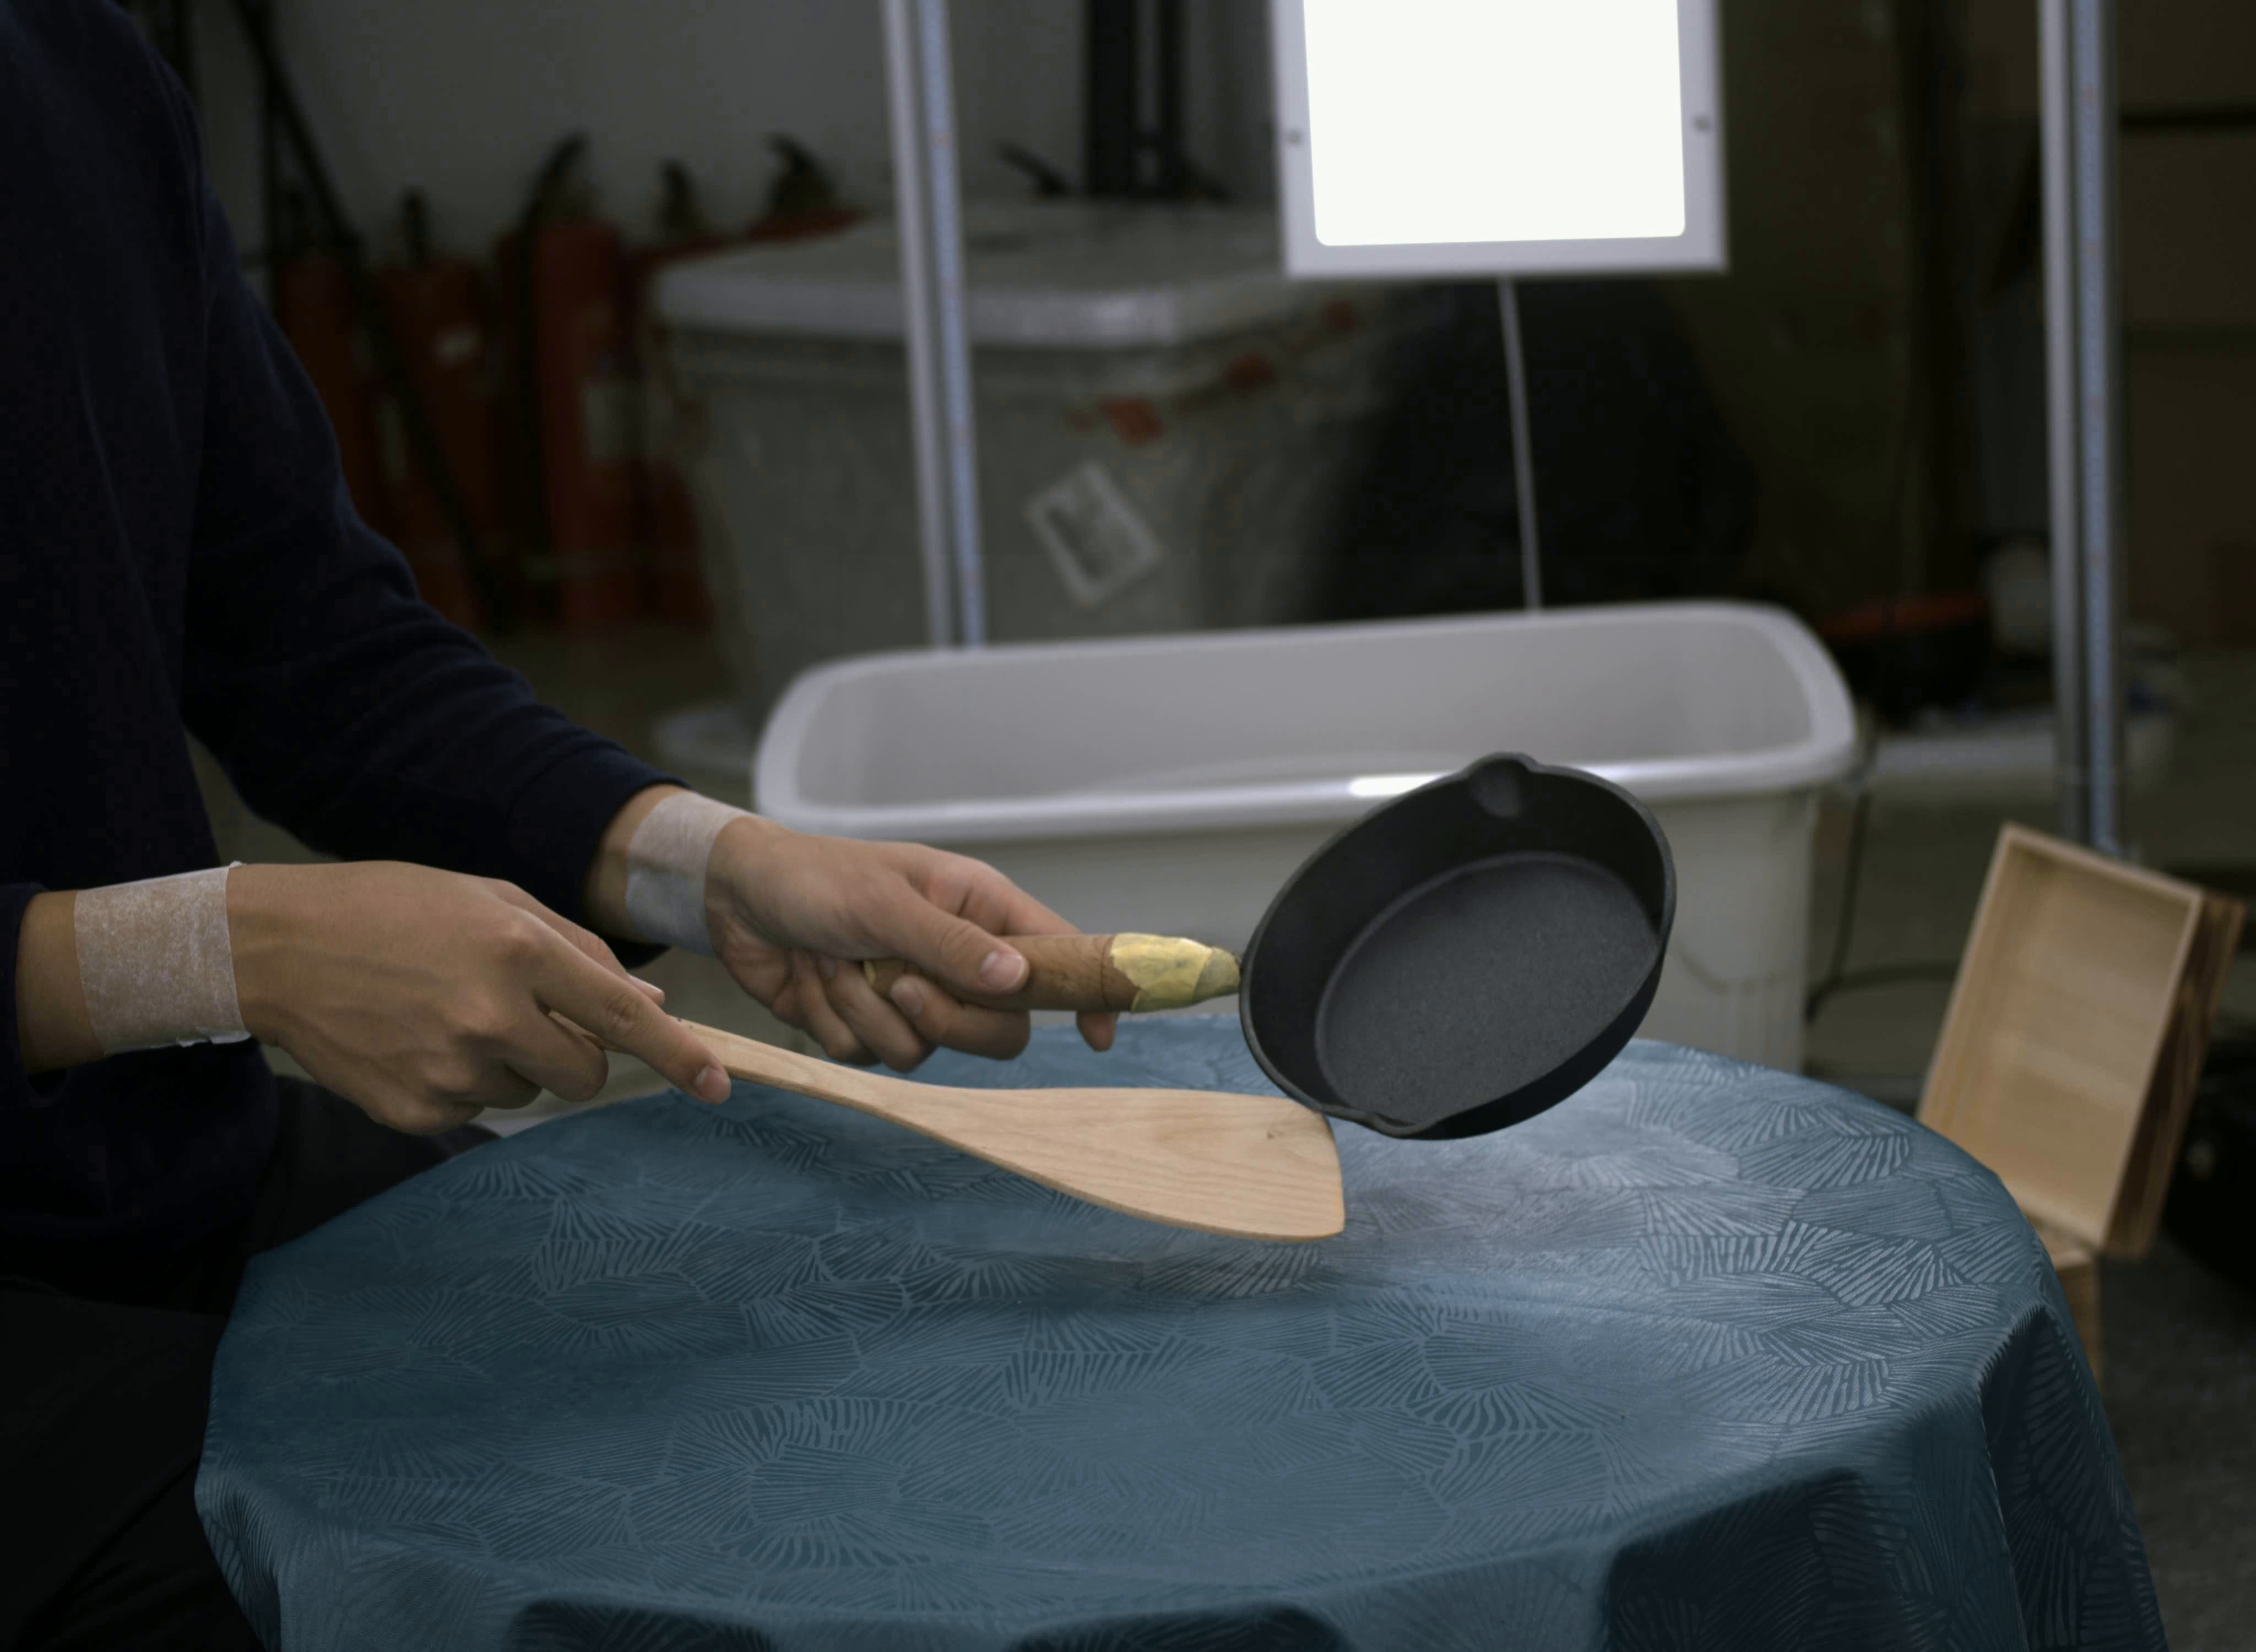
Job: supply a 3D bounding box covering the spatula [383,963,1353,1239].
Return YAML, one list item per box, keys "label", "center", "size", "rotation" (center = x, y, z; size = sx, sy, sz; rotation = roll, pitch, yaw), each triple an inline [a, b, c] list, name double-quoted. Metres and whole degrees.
- label: "spatula"
  center: [-0.084, 0.083, 1.808]
  size: [0.327, 0.017, 0.079]
  rotation: [13, 31, 3]

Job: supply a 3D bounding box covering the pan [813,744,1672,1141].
- label: "pan"
  center: [0.038, 0.047, 1.888]
  size: [0.330, 0.049, 0.167]
  rotation: [-4, 49, 30]
